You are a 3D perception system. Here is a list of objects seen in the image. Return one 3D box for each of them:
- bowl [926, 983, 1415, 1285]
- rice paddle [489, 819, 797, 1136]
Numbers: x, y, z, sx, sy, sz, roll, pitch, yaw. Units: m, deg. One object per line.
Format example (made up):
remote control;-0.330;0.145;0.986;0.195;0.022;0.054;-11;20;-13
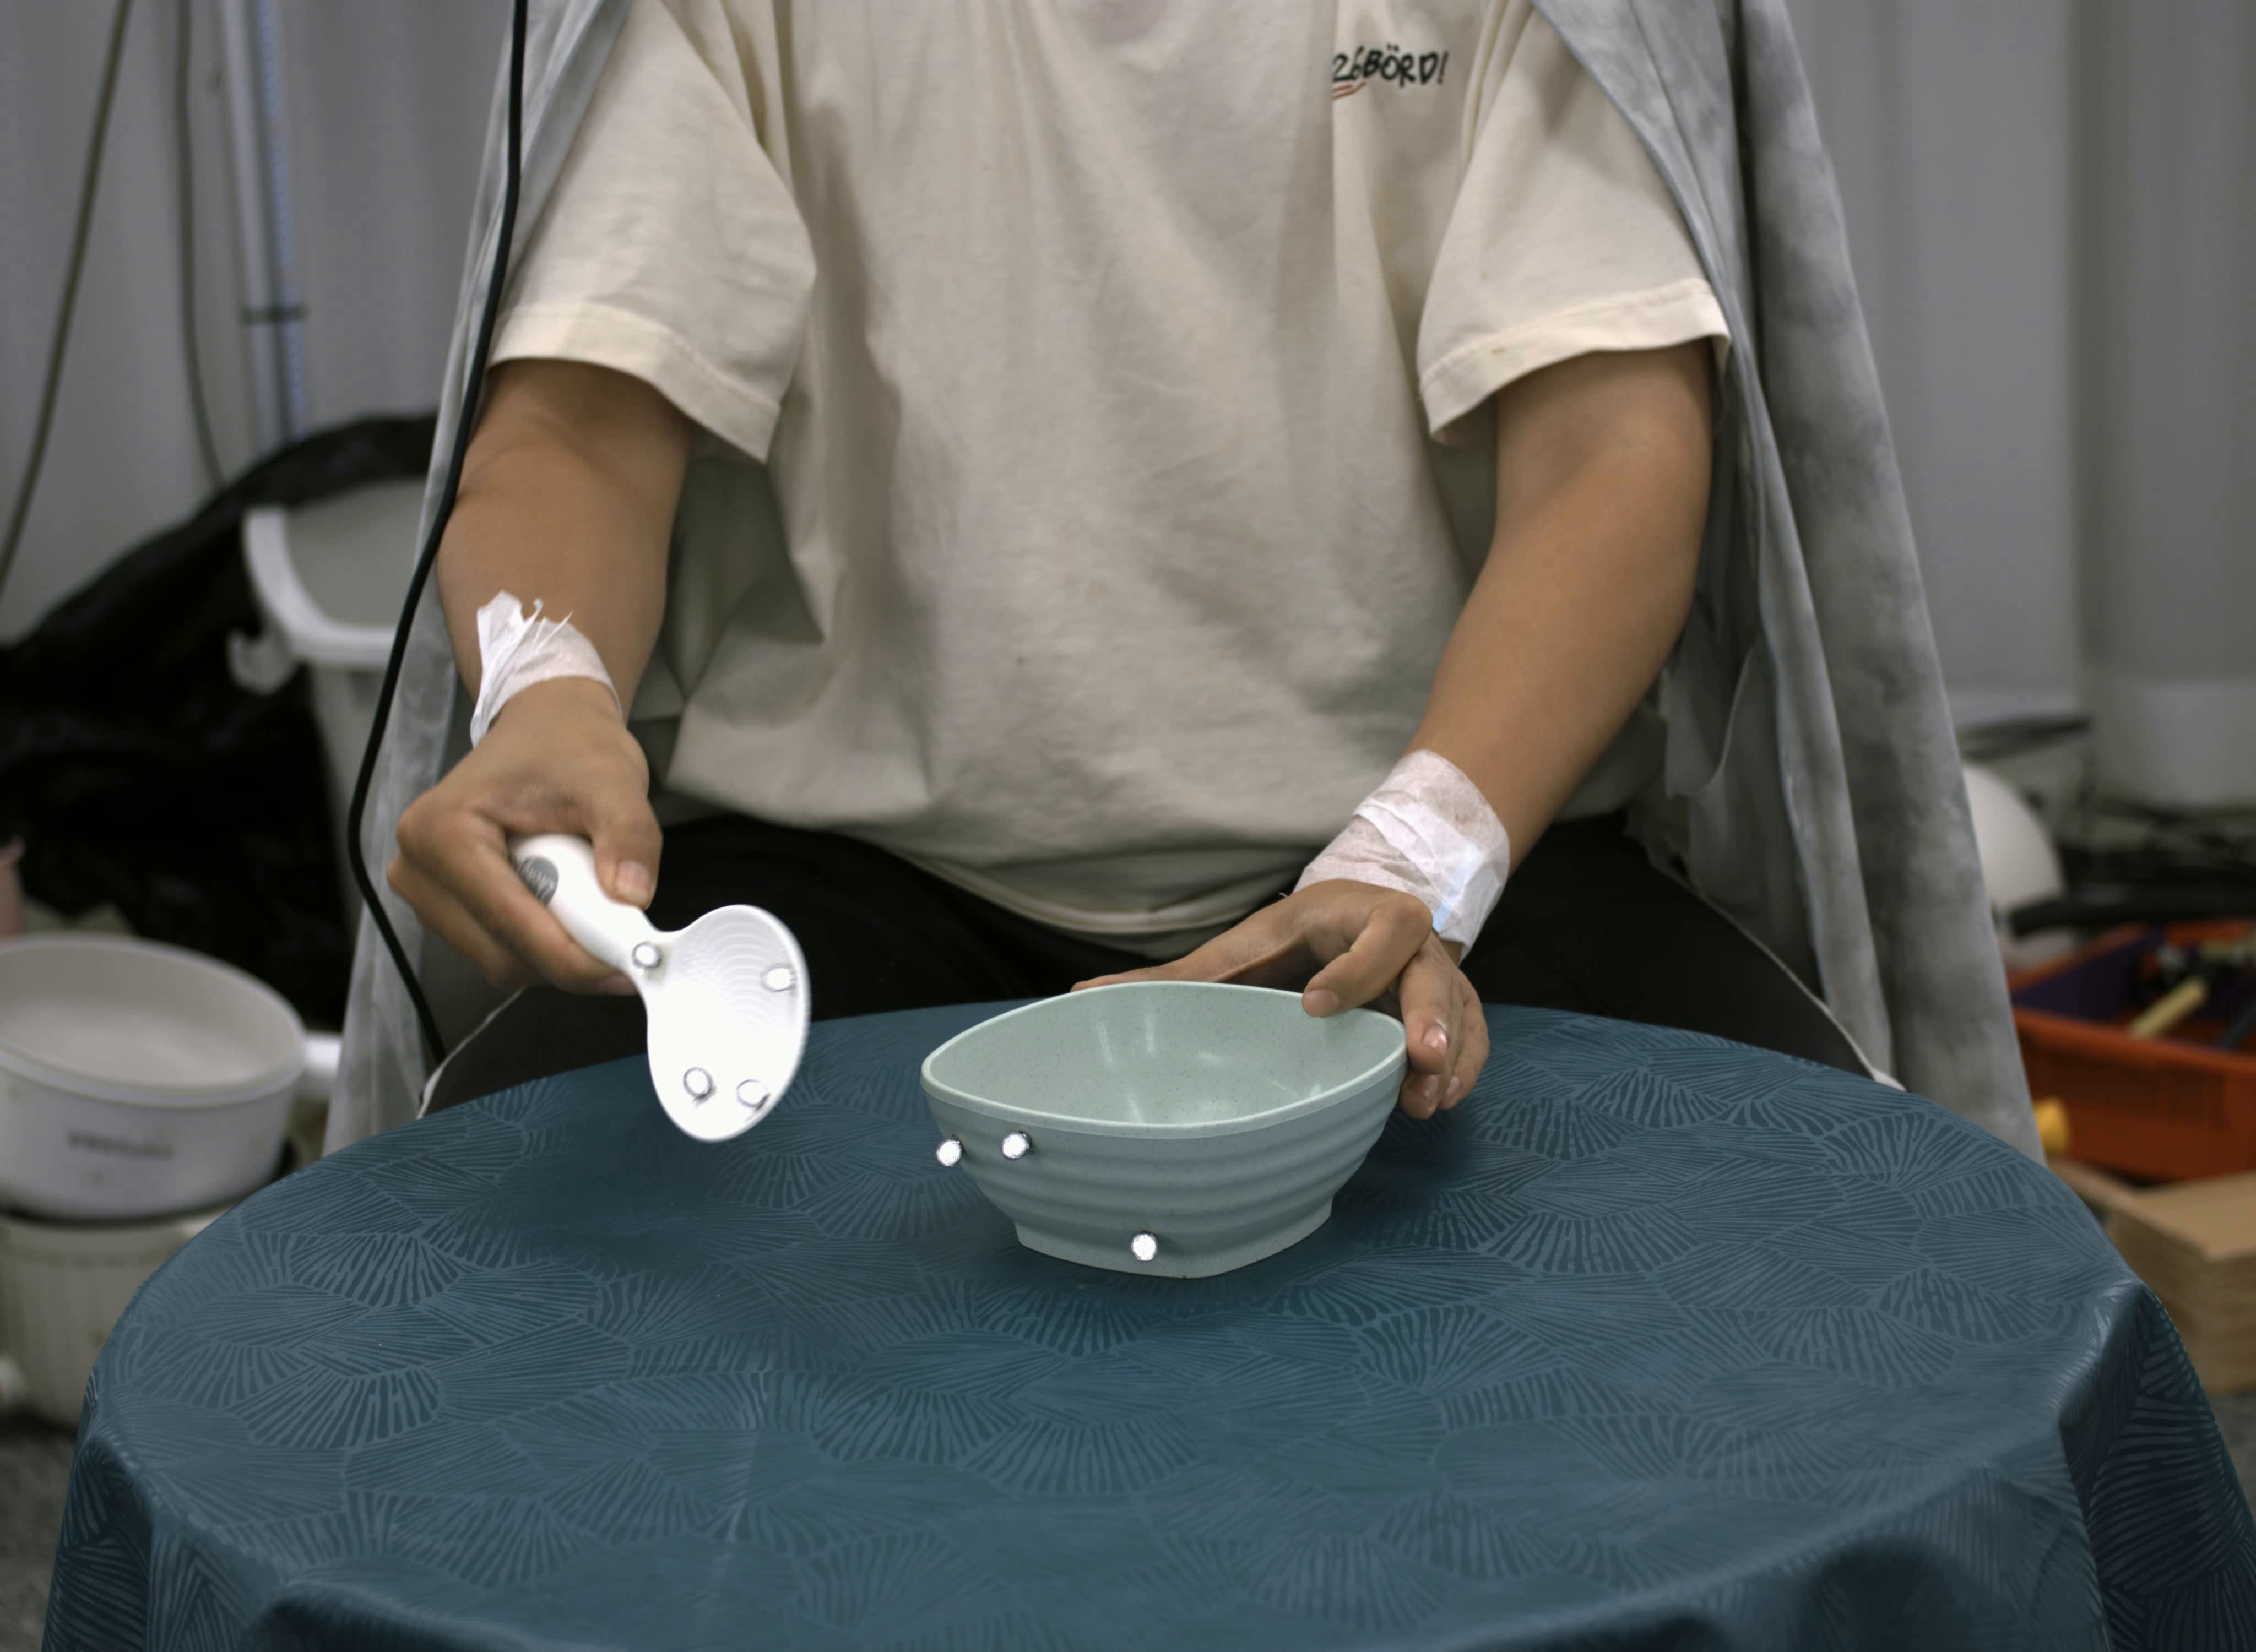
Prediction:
bowl;0.015;0.097;1.676;0.151;0.058;0.152;-4;16;1
rice paddle;-0.146;0.040;1.664;0.029;0.069;0.207;16;8;-30
